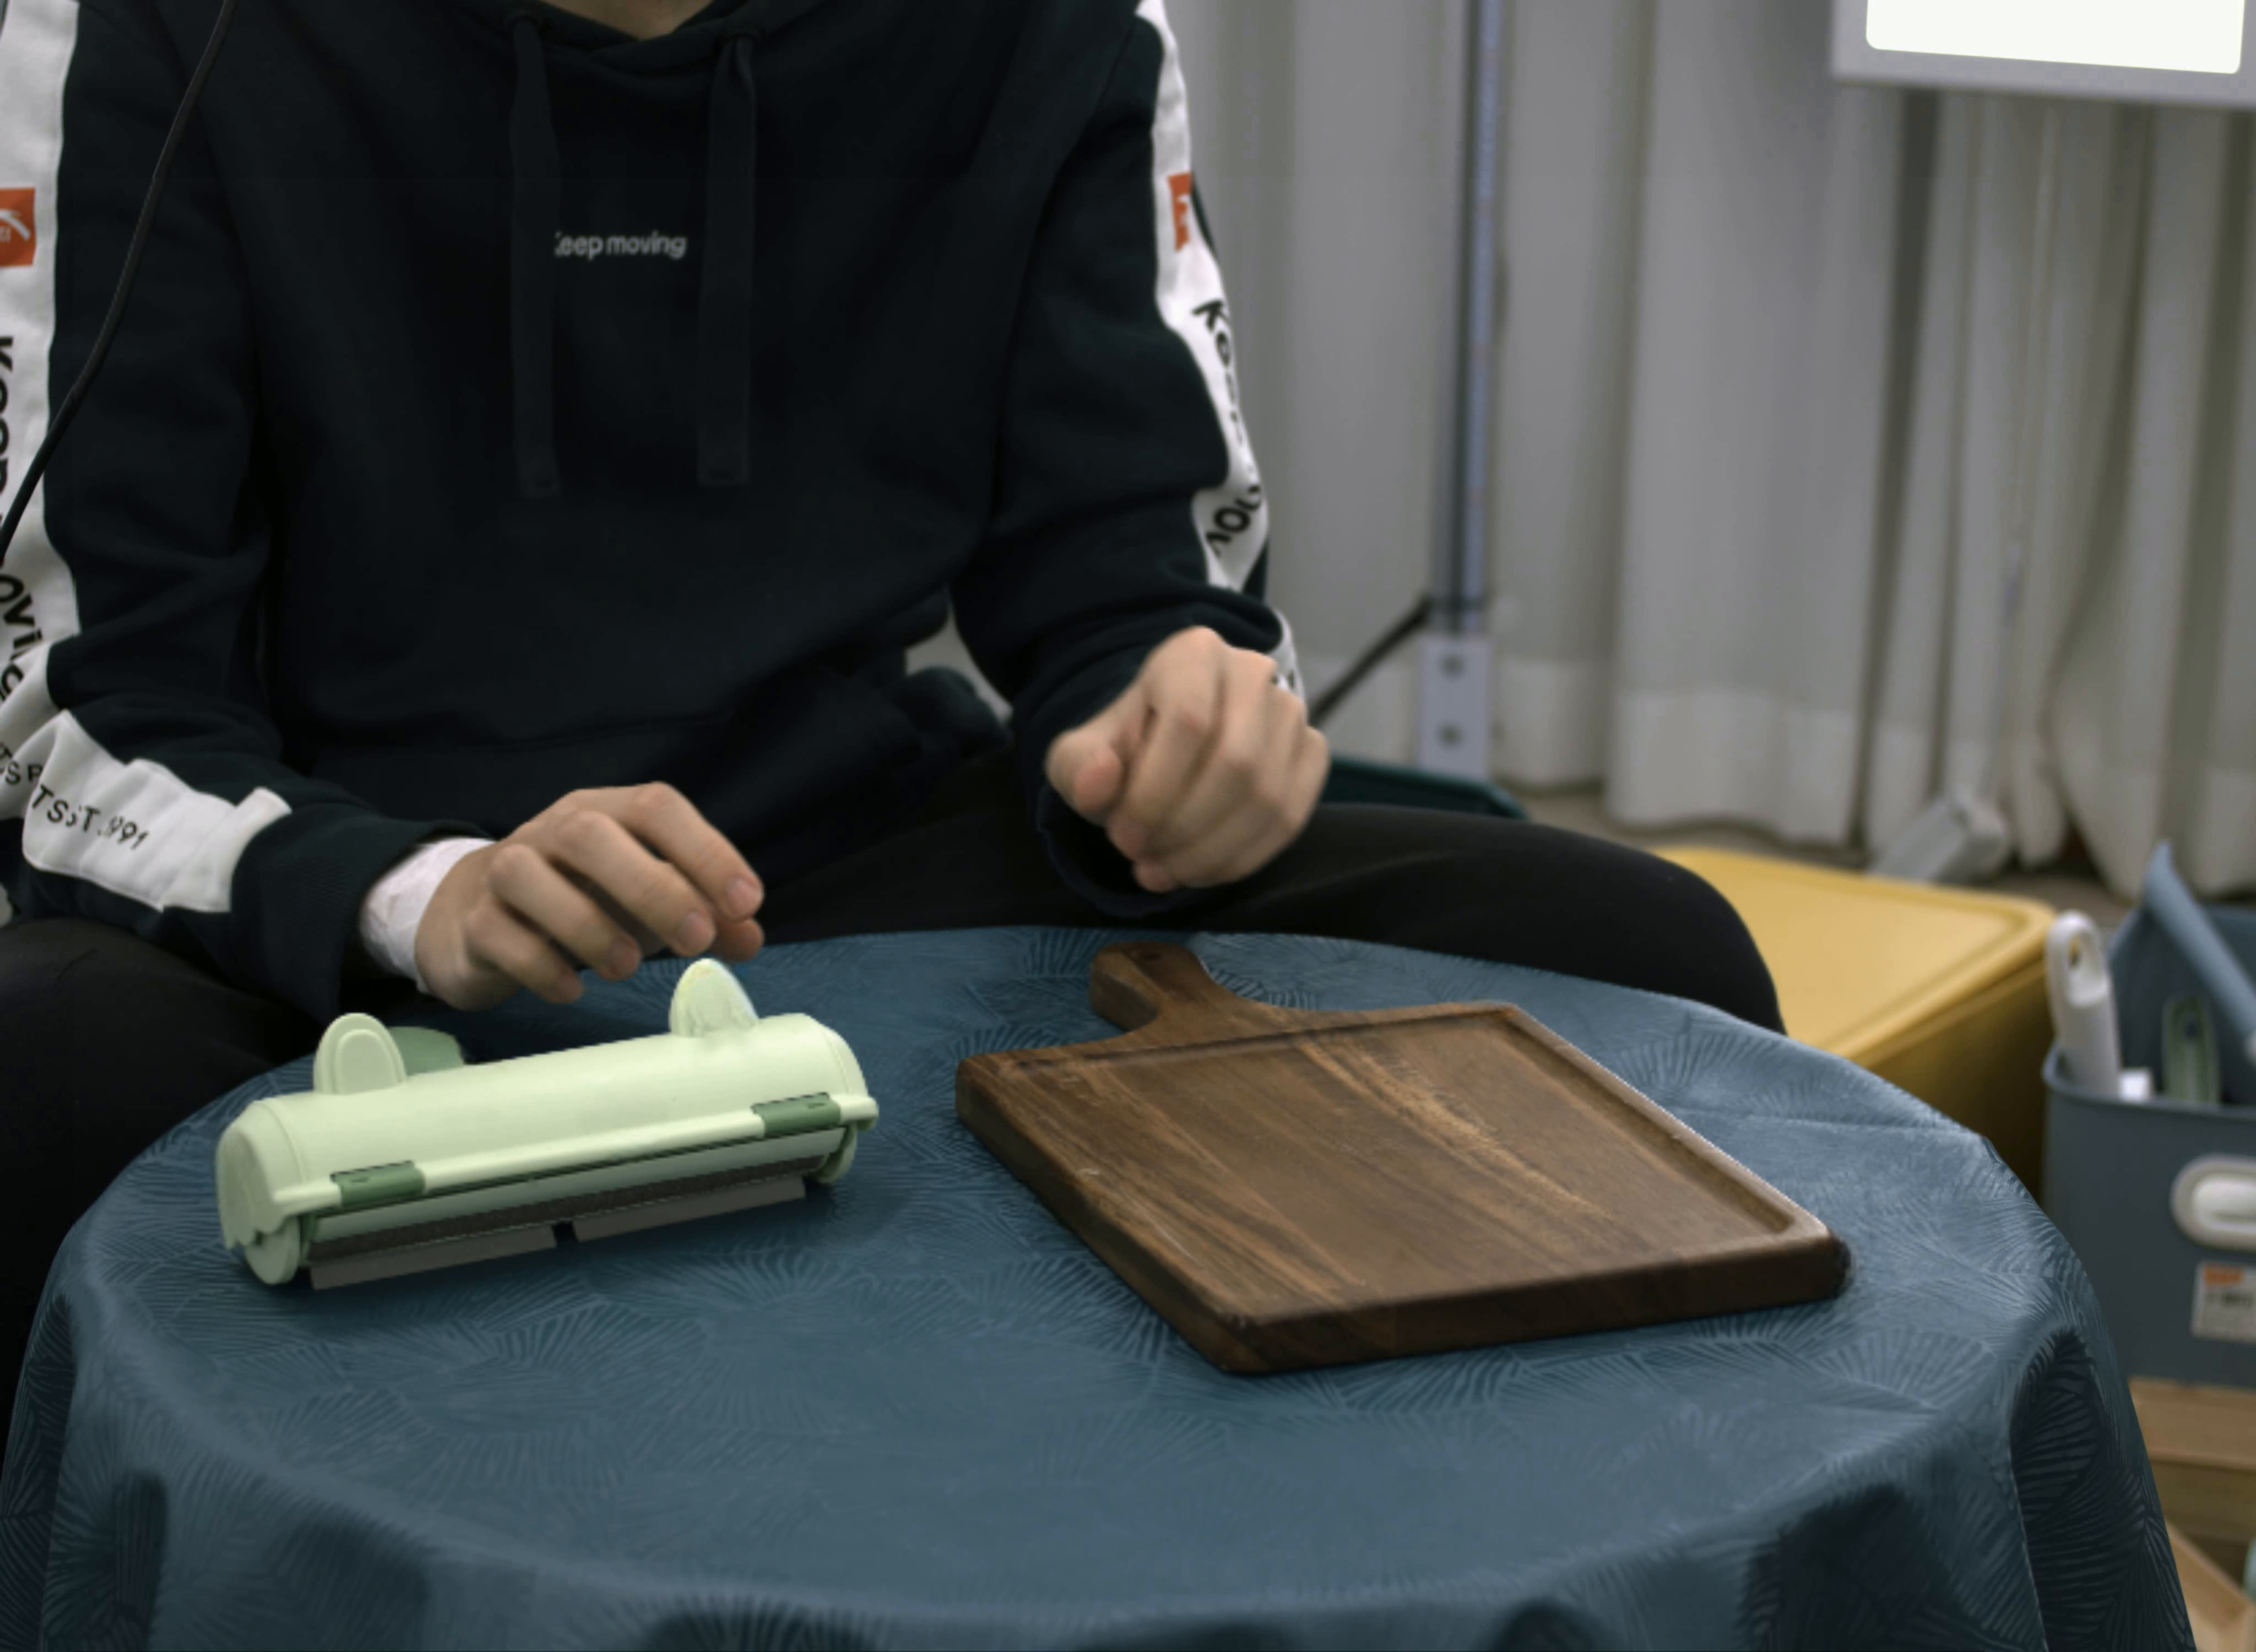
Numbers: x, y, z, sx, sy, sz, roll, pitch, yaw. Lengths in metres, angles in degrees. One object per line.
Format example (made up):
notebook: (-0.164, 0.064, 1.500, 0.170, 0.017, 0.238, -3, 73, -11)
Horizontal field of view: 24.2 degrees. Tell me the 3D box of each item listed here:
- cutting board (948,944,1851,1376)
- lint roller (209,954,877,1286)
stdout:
cutting board: (0.060, 0.093, 1.651, 0.201, 0.023, 0.348, -5, 16, -21)
lint roller: (-0.201, 0.072, 1.614, 0.199, 0.083, 0.181, -9, 22, -29)
